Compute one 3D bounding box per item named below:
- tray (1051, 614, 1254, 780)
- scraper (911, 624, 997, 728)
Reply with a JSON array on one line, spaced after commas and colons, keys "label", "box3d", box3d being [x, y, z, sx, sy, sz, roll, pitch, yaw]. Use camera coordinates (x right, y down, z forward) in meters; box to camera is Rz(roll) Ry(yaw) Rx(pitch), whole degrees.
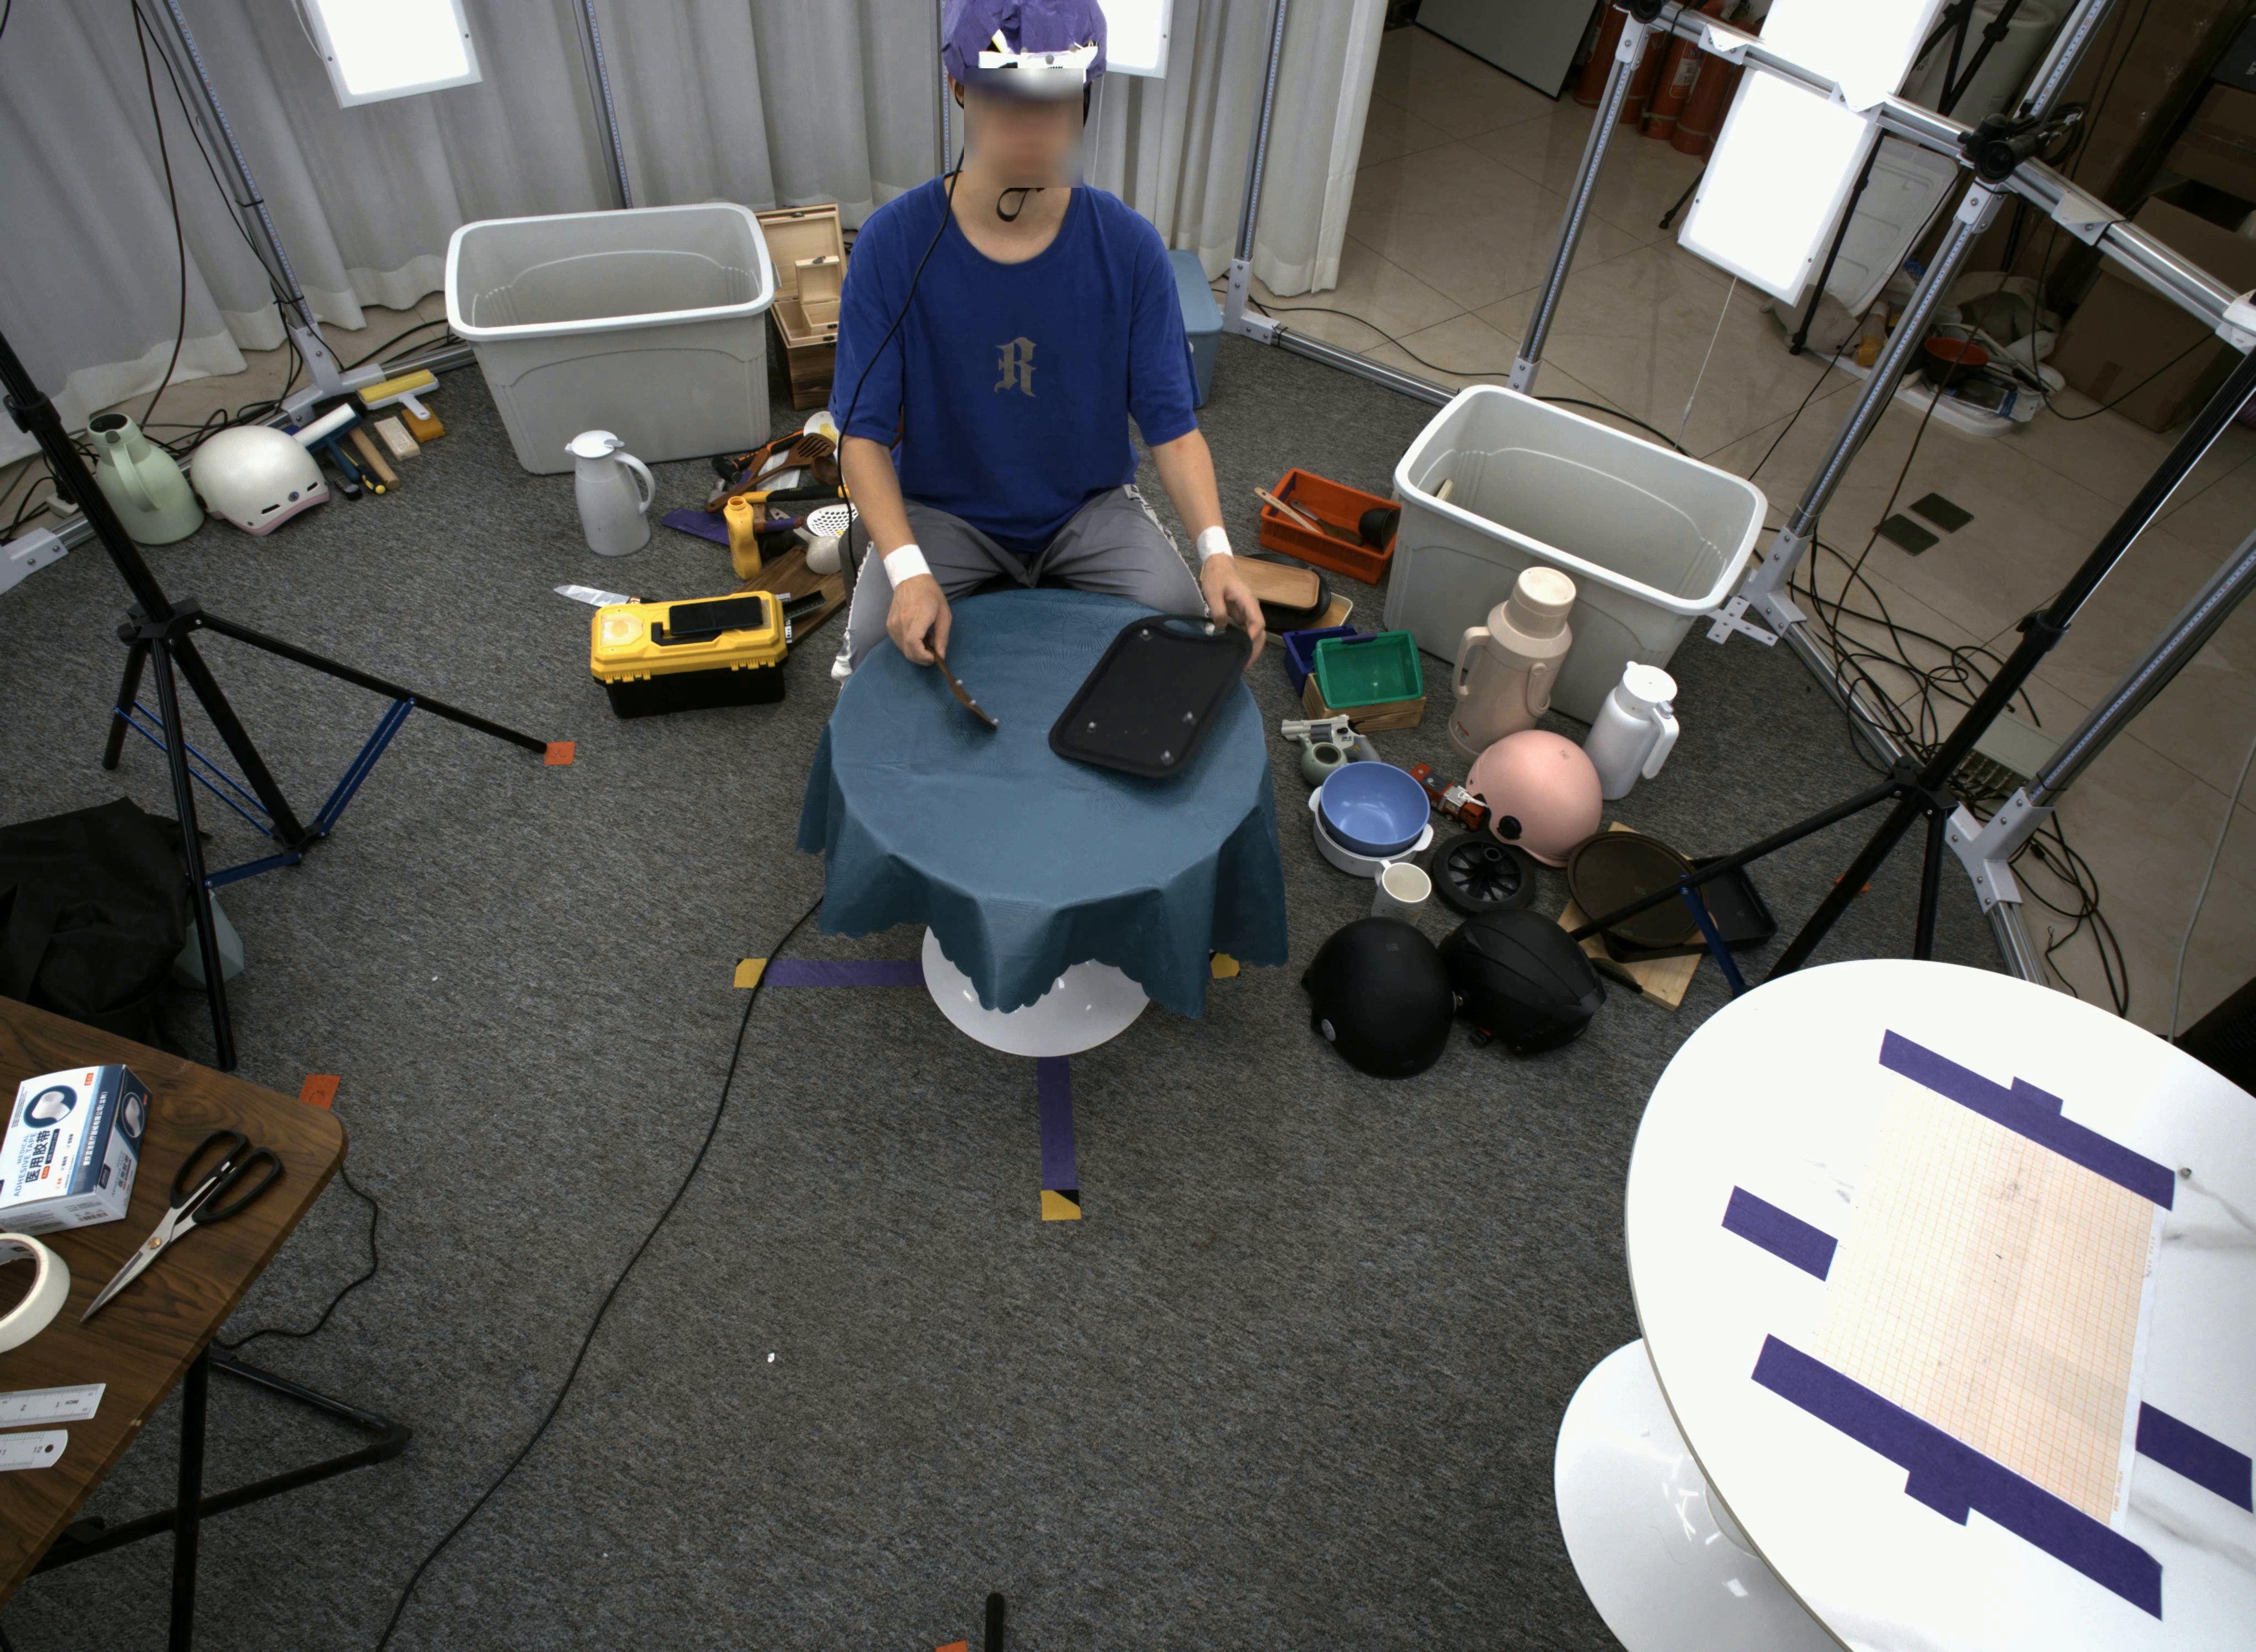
[{"label": "tray", "box3d": [0.040, -0.196, 1.815, 0.212, 0.009, 0.331, 16, 52, 22]}, {"label": "scraper", "box3d": [-0.249, -0.212, 1.796, 0.011, 0.074, 0.215, -42, 59, 8]}]
